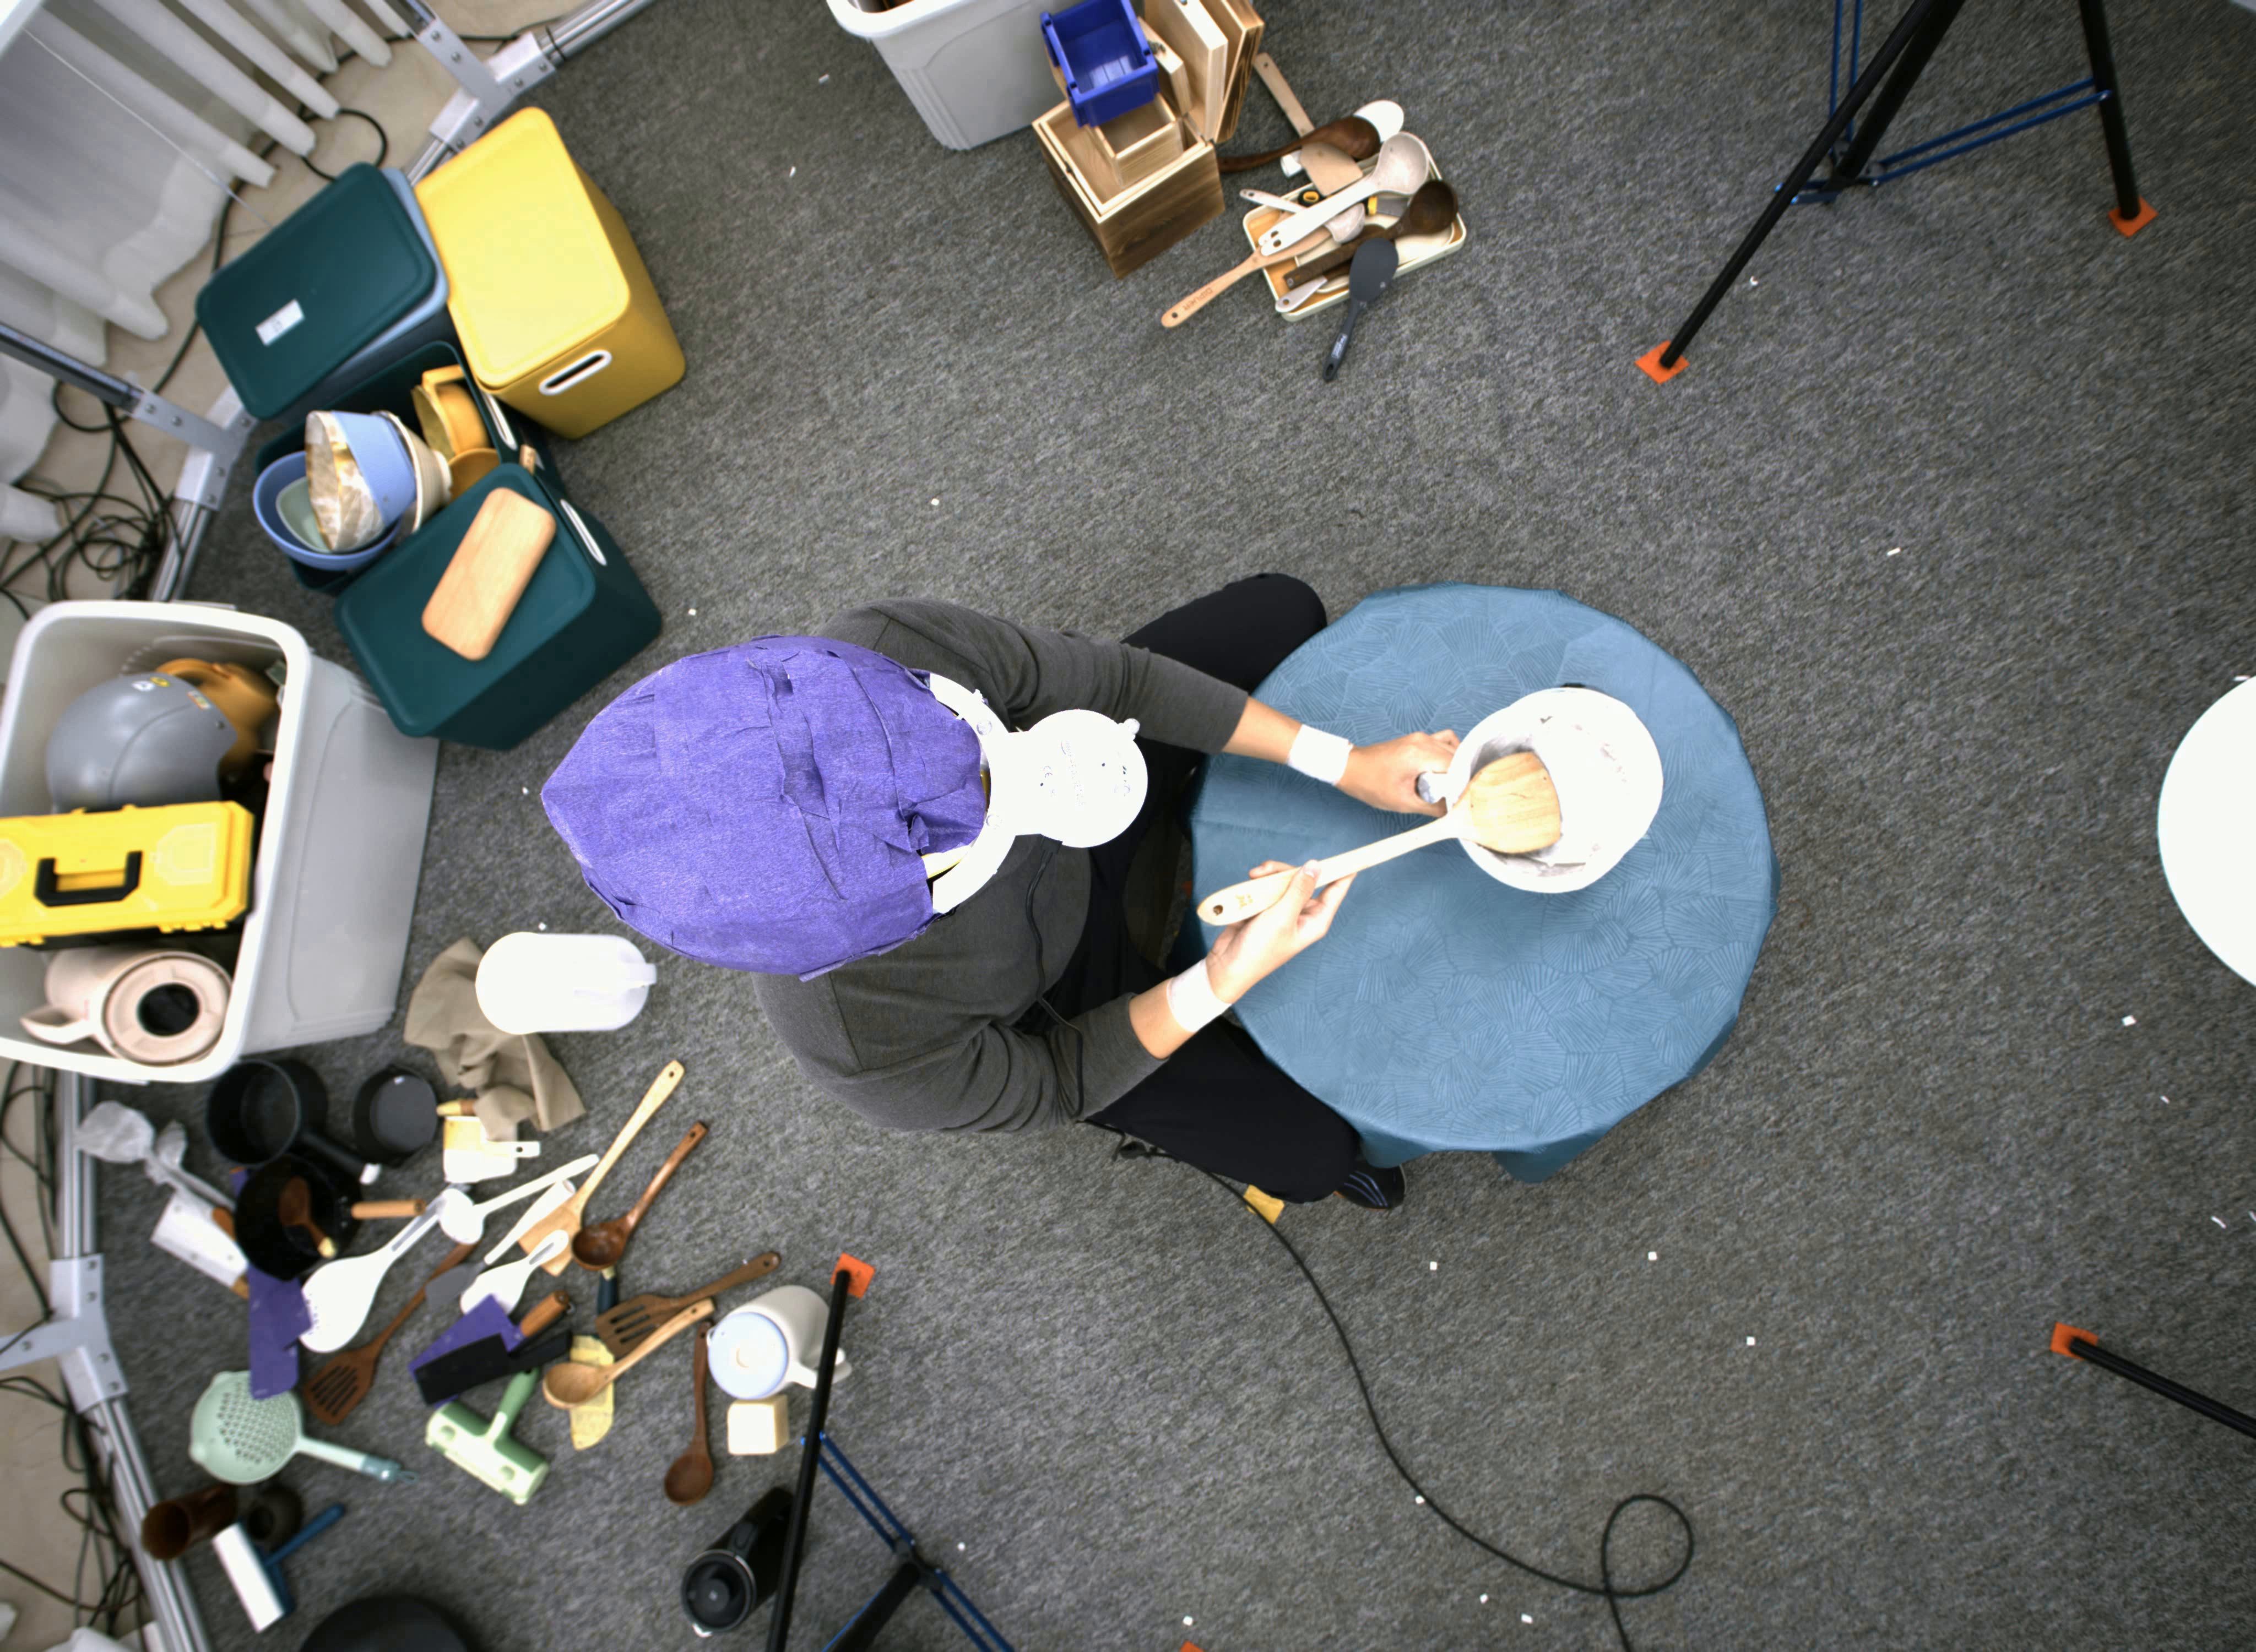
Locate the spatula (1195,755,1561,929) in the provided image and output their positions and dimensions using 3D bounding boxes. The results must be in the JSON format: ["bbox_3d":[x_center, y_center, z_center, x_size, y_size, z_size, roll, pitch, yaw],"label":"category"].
[{"bbox_3d":[0.235,0.026,1.259,0.387,0.018,0.095,-19,90,-20],"label":"spatula"}]

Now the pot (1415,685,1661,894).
[{"bbox_3d":[0.382,-0.042,1.310,0.235,0.134,0.181,4,106,33],"label":"pot"}]
